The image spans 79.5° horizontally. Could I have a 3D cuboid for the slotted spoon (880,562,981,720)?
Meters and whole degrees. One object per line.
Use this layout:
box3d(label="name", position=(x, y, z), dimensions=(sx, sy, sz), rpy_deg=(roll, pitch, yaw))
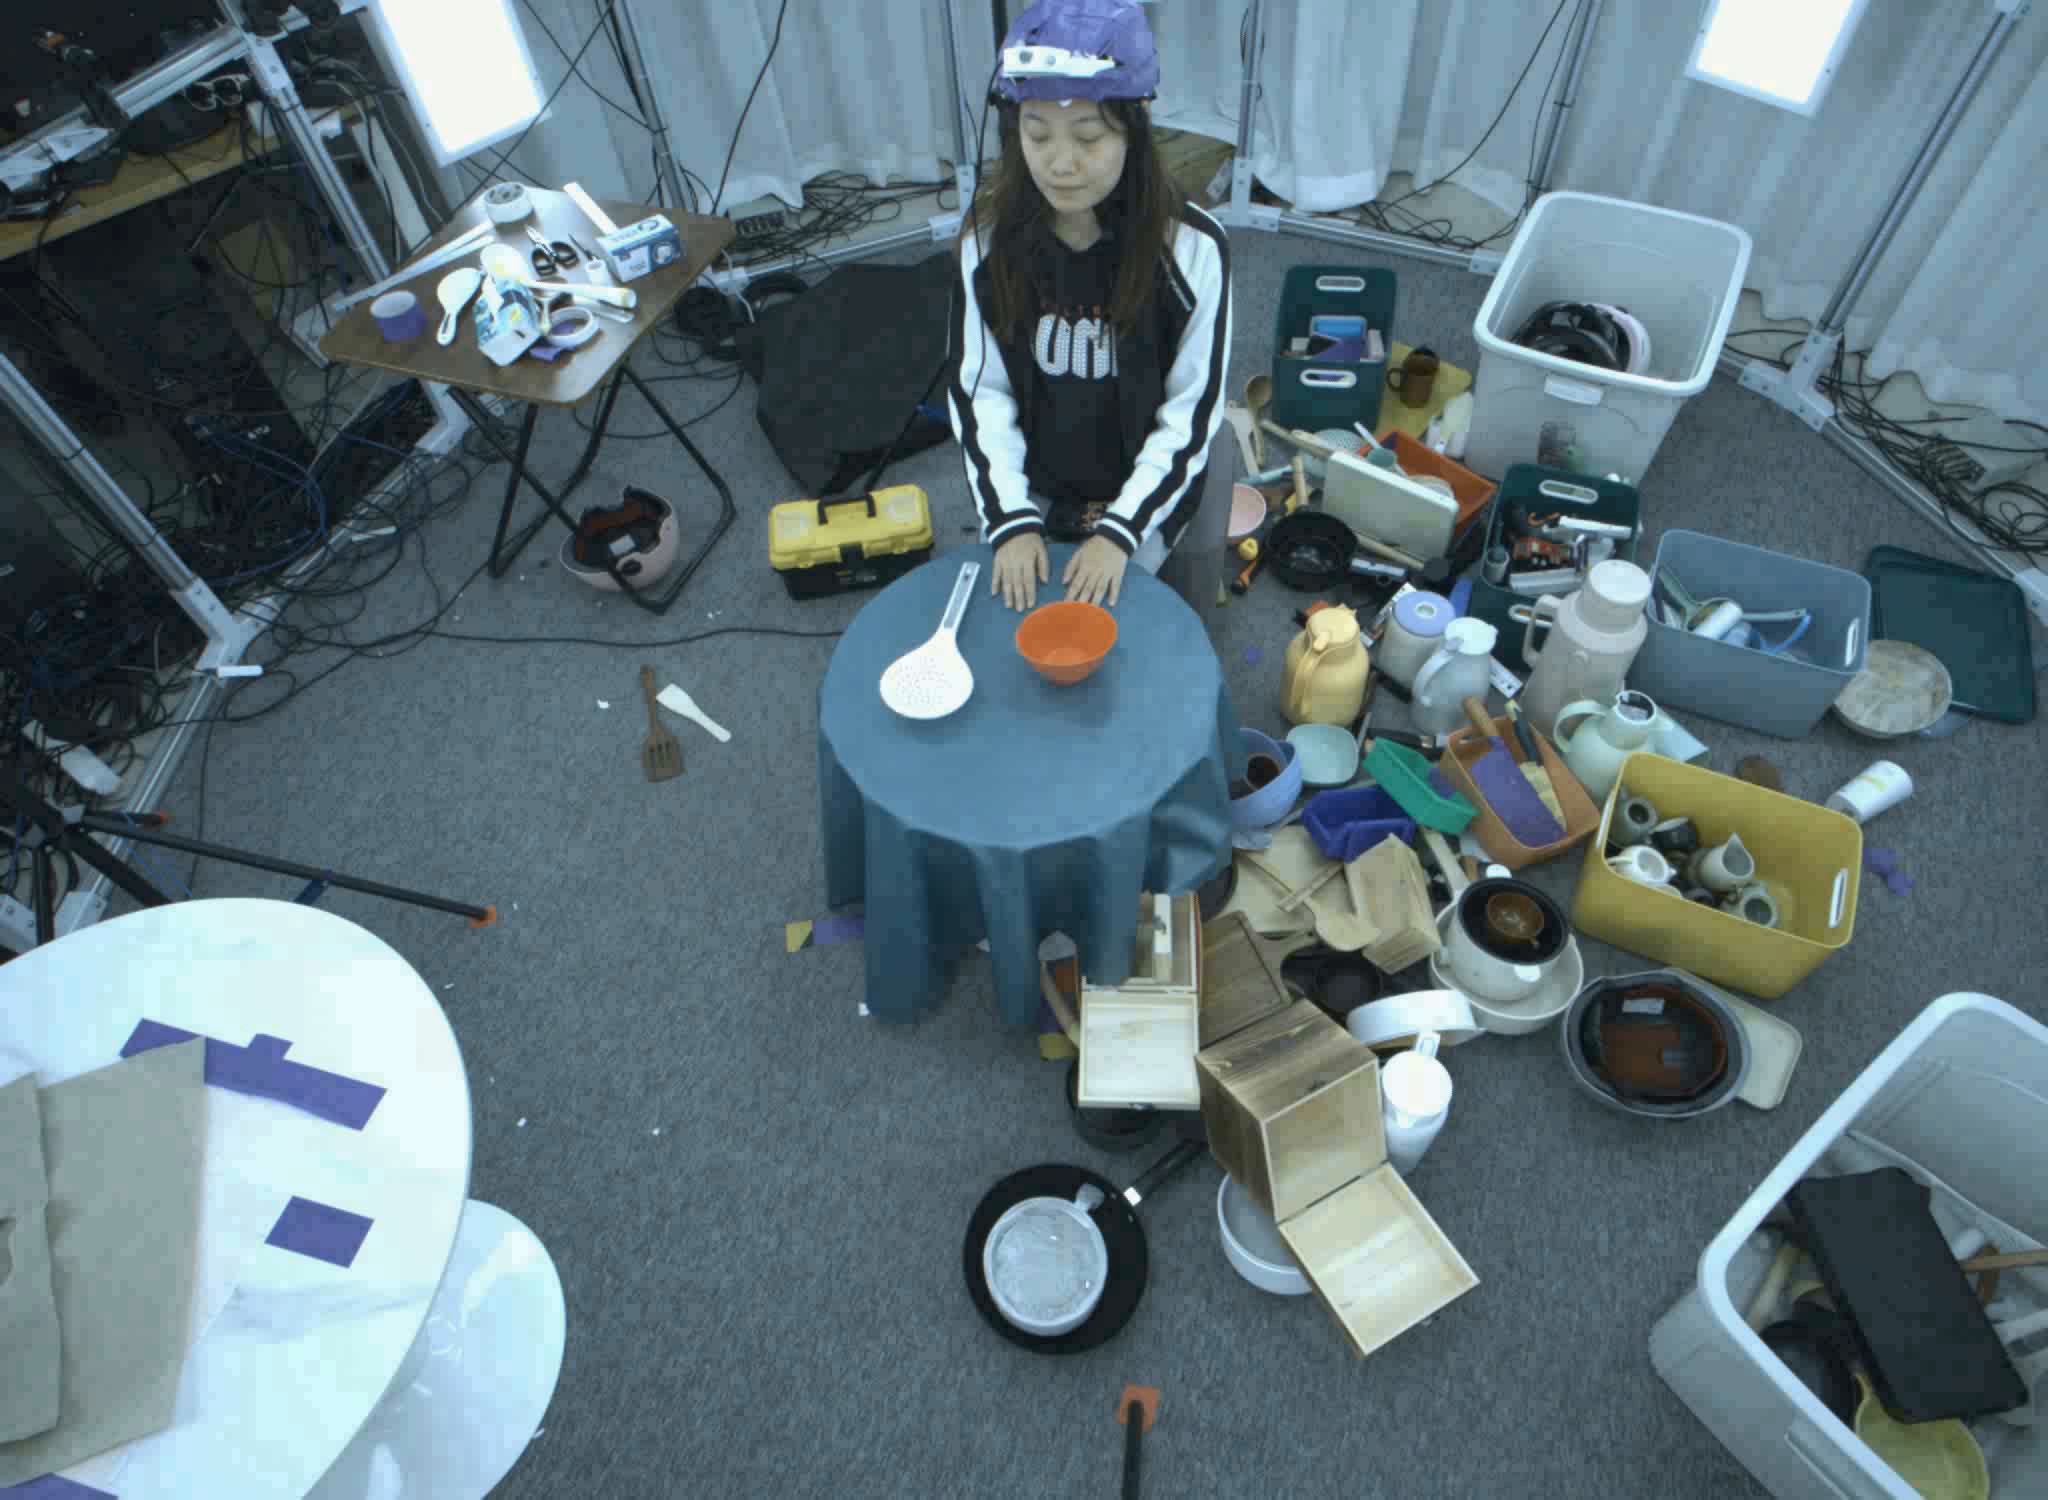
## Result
box3d(label="slotted spoon", position=(-0.122, -0.172, 1.886), dimensions=(0.135, 0.046, 0.348), rpy_deg=(10, 55, 7))

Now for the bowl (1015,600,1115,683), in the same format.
box3d(label="bowl", position=(0.064, -0.147, 1.826), dimensions=(0.147, 0.106, 0.146), rpy_deg=(-3, 55, 5))
